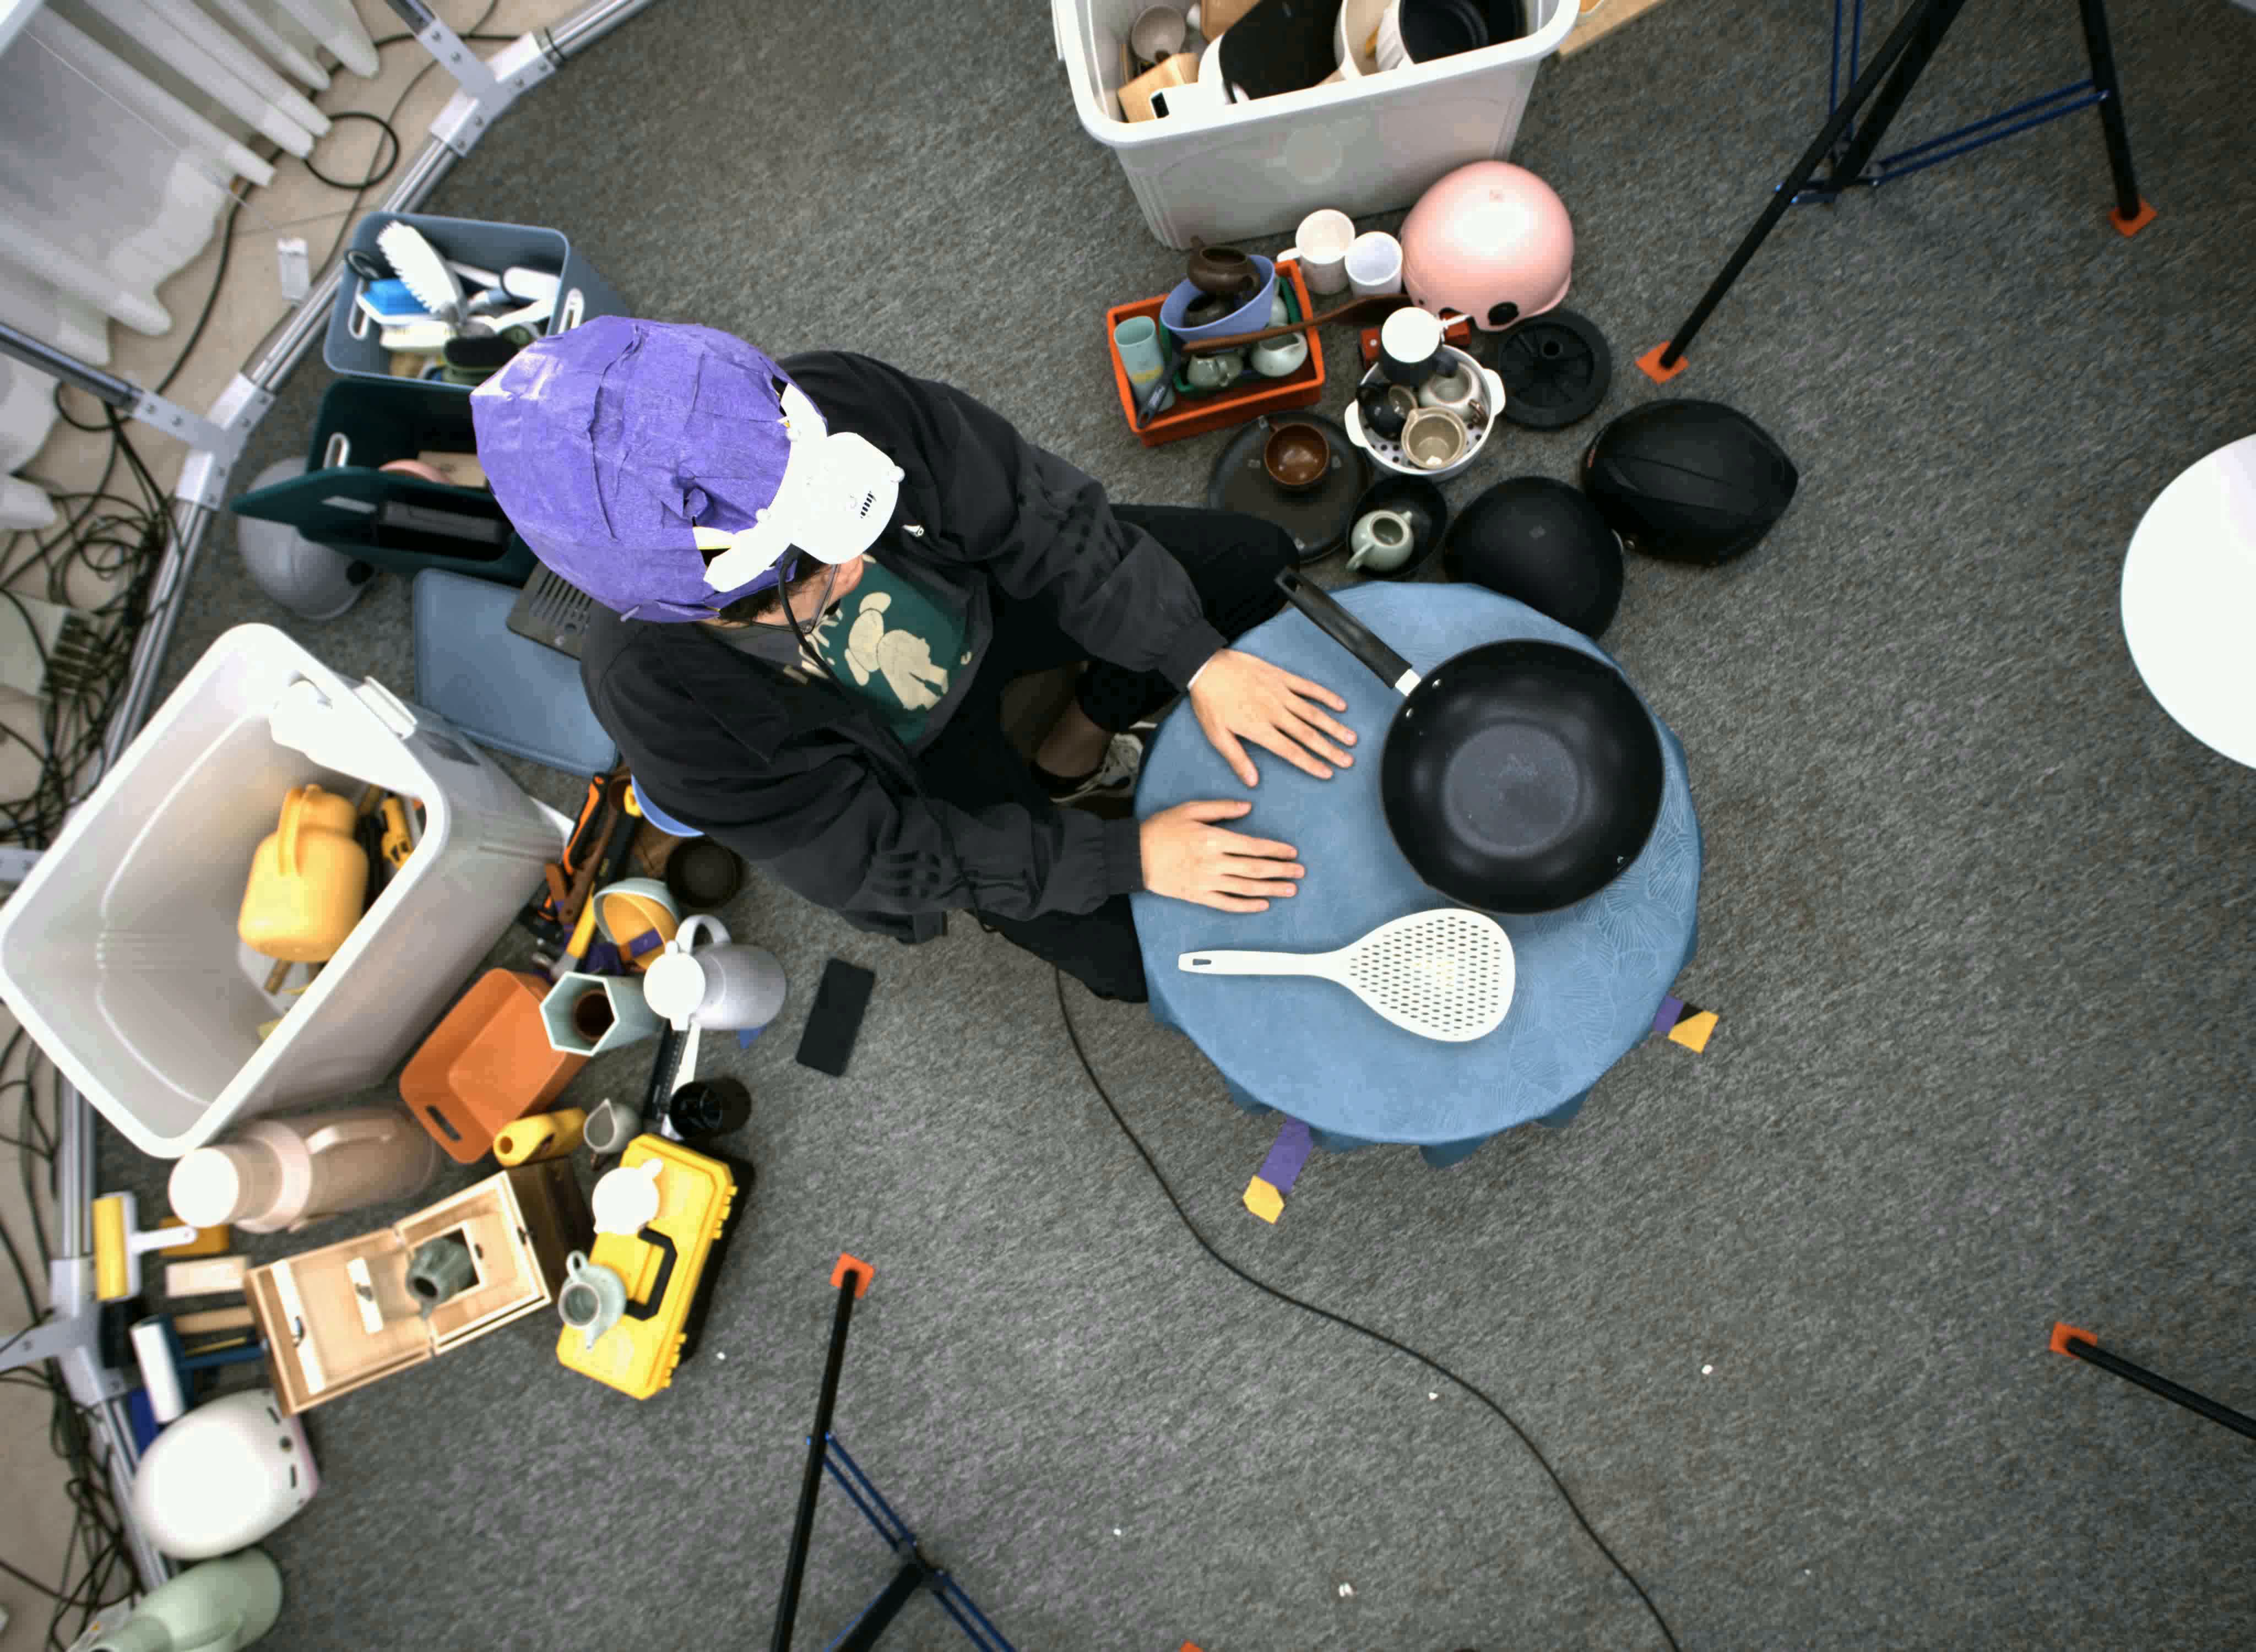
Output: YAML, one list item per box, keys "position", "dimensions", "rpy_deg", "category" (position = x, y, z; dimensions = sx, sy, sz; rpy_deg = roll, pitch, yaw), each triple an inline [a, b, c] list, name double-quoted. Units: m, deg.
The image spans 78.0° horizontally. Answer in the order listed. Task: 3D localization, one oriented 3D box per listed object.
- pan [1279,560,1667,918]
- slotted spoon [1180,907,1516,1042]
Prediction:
- position: [0.330, -0.107, 1.414]
  dimensions: [0.461, 0.087, 0.289]
  rpy_deg: [43, 94, 11]
  category: "pan"
- position: [0.224, 0.146, 1.443]
  dimensions: [0.349, 0.050, 0.136]
  rpy_deg: [2, 89, 11]
  category: "slotted spoon"
